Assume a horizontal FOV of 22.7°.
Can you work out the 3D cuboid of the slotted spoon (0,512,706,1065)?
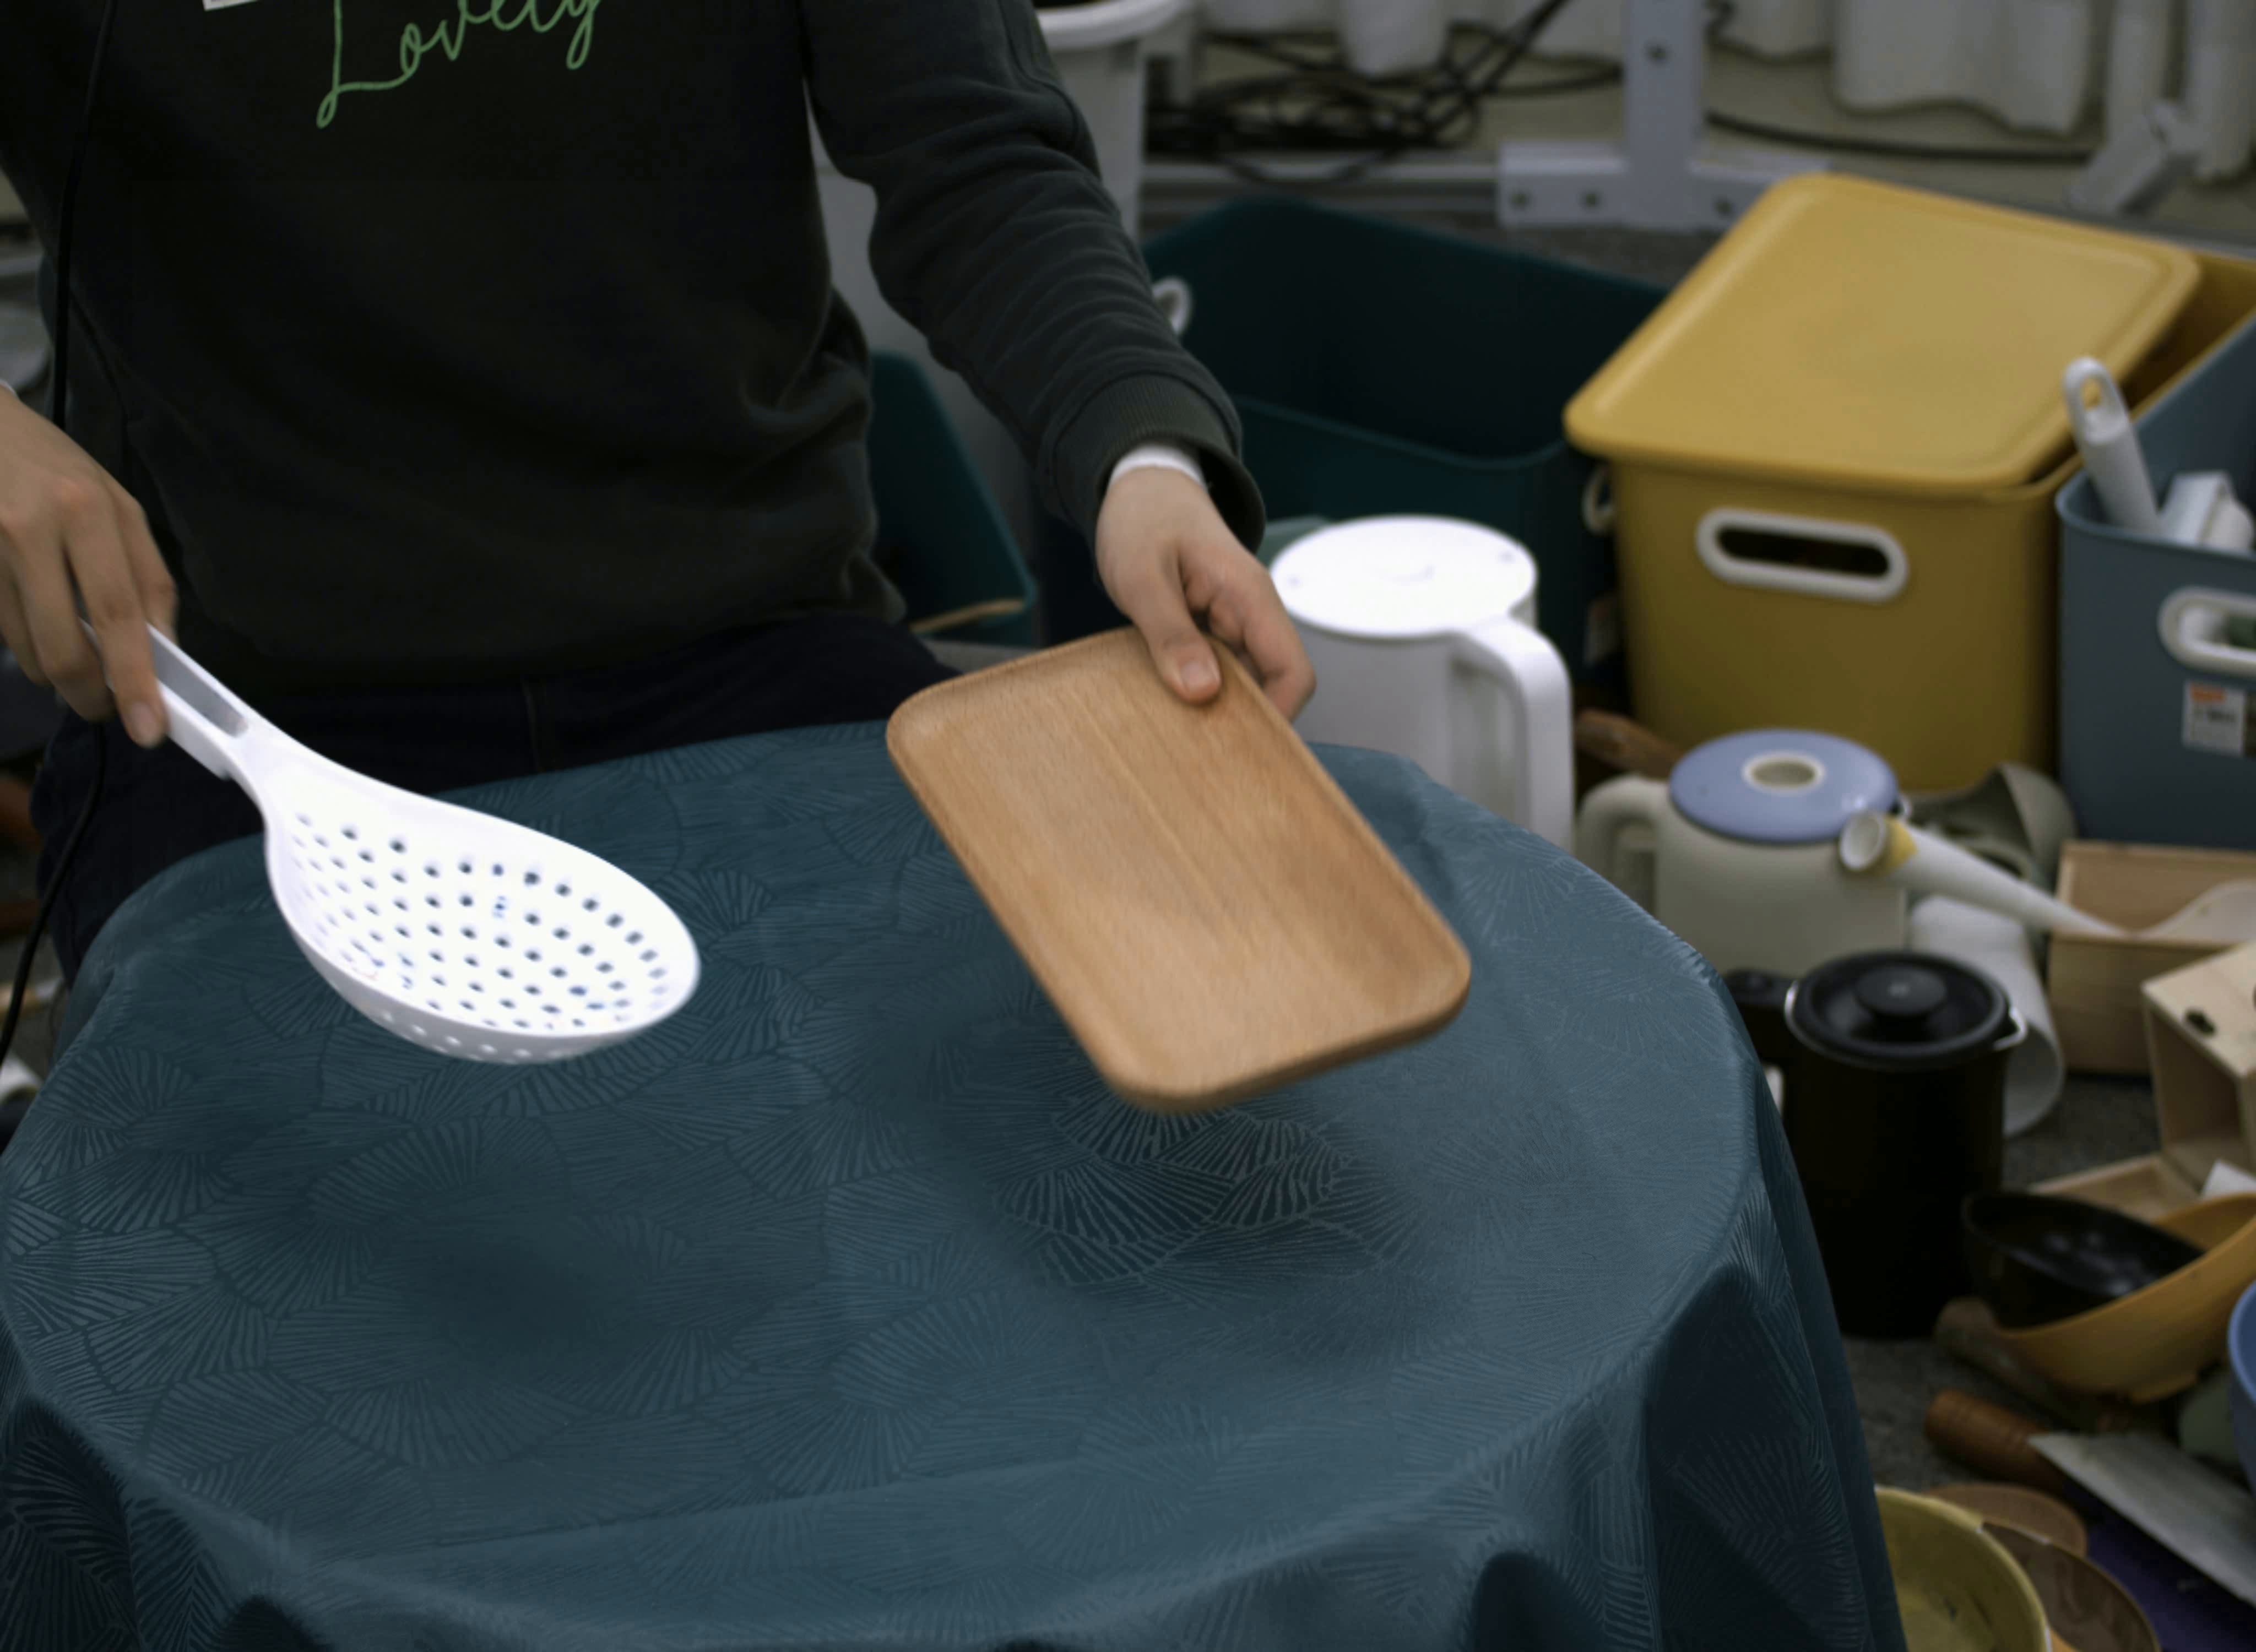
[{"bbox_3d":[-0.274,-0.015,1.832,0.137,0.045,0.351,-9,40,-47],"label":"slotted spoon"}]

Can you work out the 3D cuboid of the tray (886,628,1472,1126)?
[{"bbox_3d":[0.014,0.014,1.868,0.131,0.022,0.253,-14,36,-16],"label":"tray"}]
